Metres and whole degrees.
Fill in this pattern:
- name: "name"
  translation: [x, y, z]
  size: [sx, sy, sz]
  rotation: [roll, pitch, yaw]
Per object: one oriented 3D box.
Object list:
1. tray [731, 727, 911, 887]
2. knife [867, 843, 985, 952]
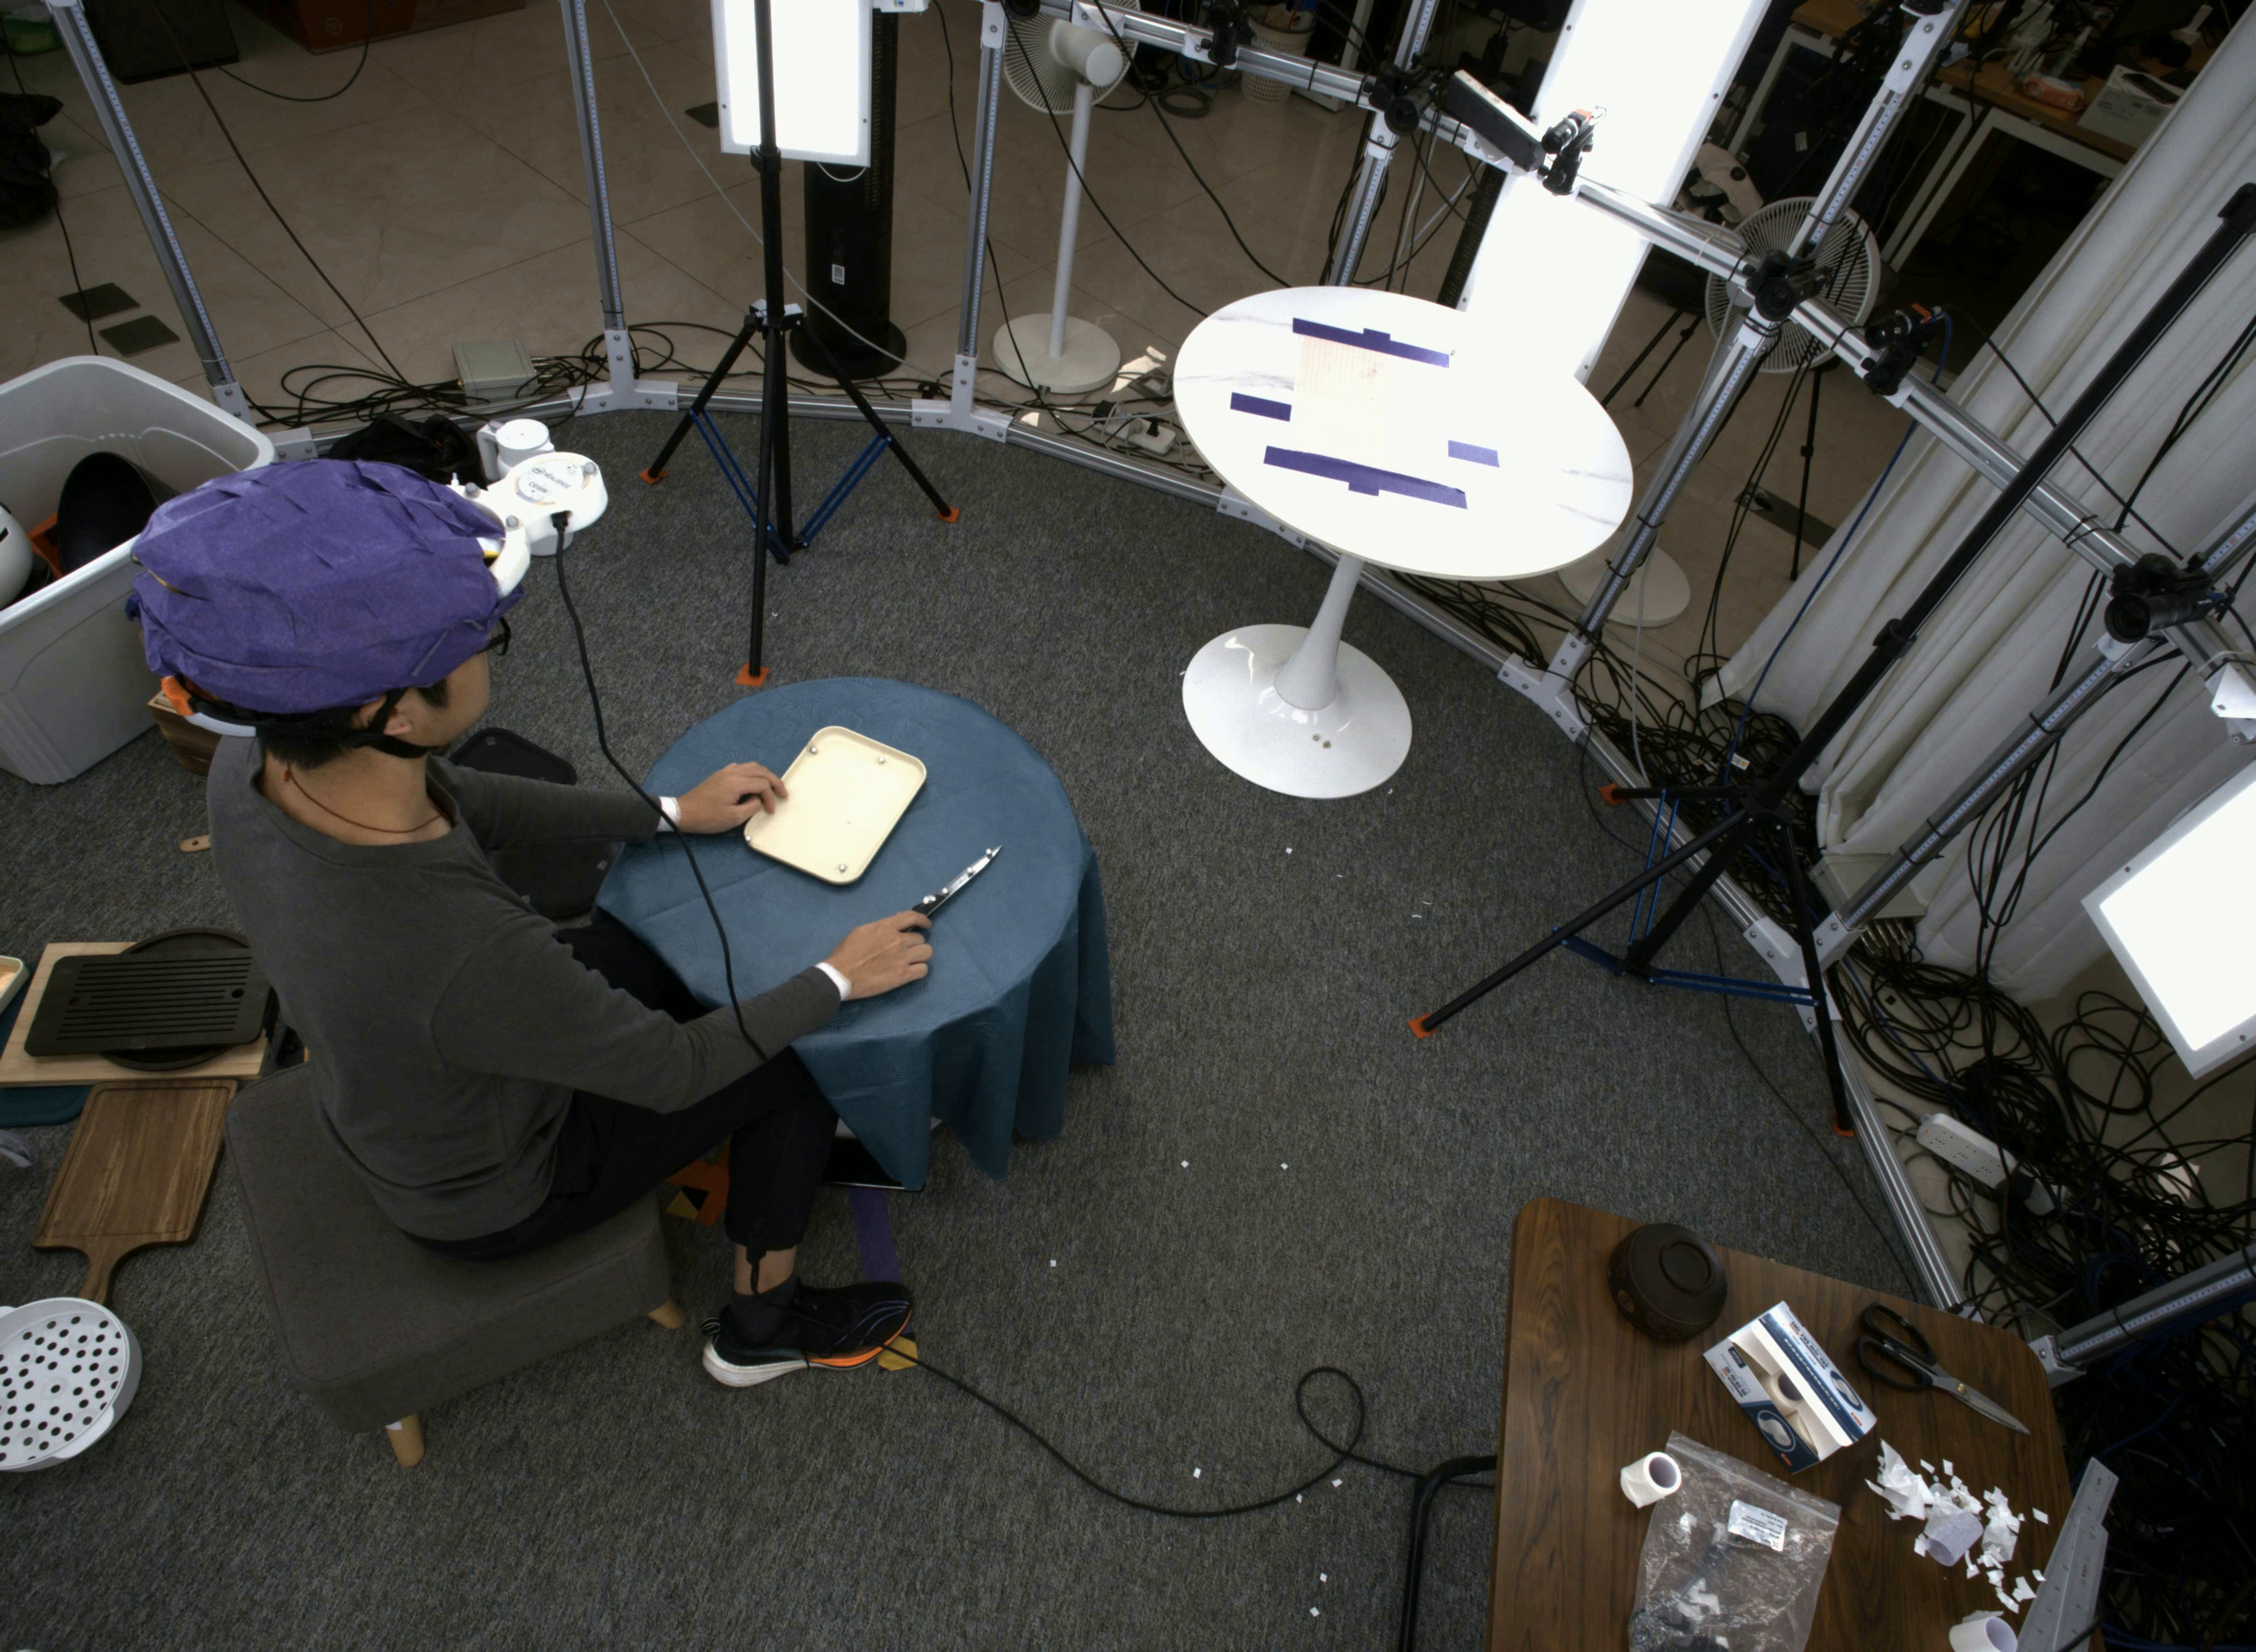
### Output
- name: "tray"
  translation: [-0.411, -0.028, 1.748]
  size: [0.169, 0.018, 0.238]
  rotation: [23, 52, 3]
- name: "knife"
  translation: [-0.256, 0.088, 1.701]
  size: [0.023, 0.017, 0.238]
  rotation: [18, 43, 28]
